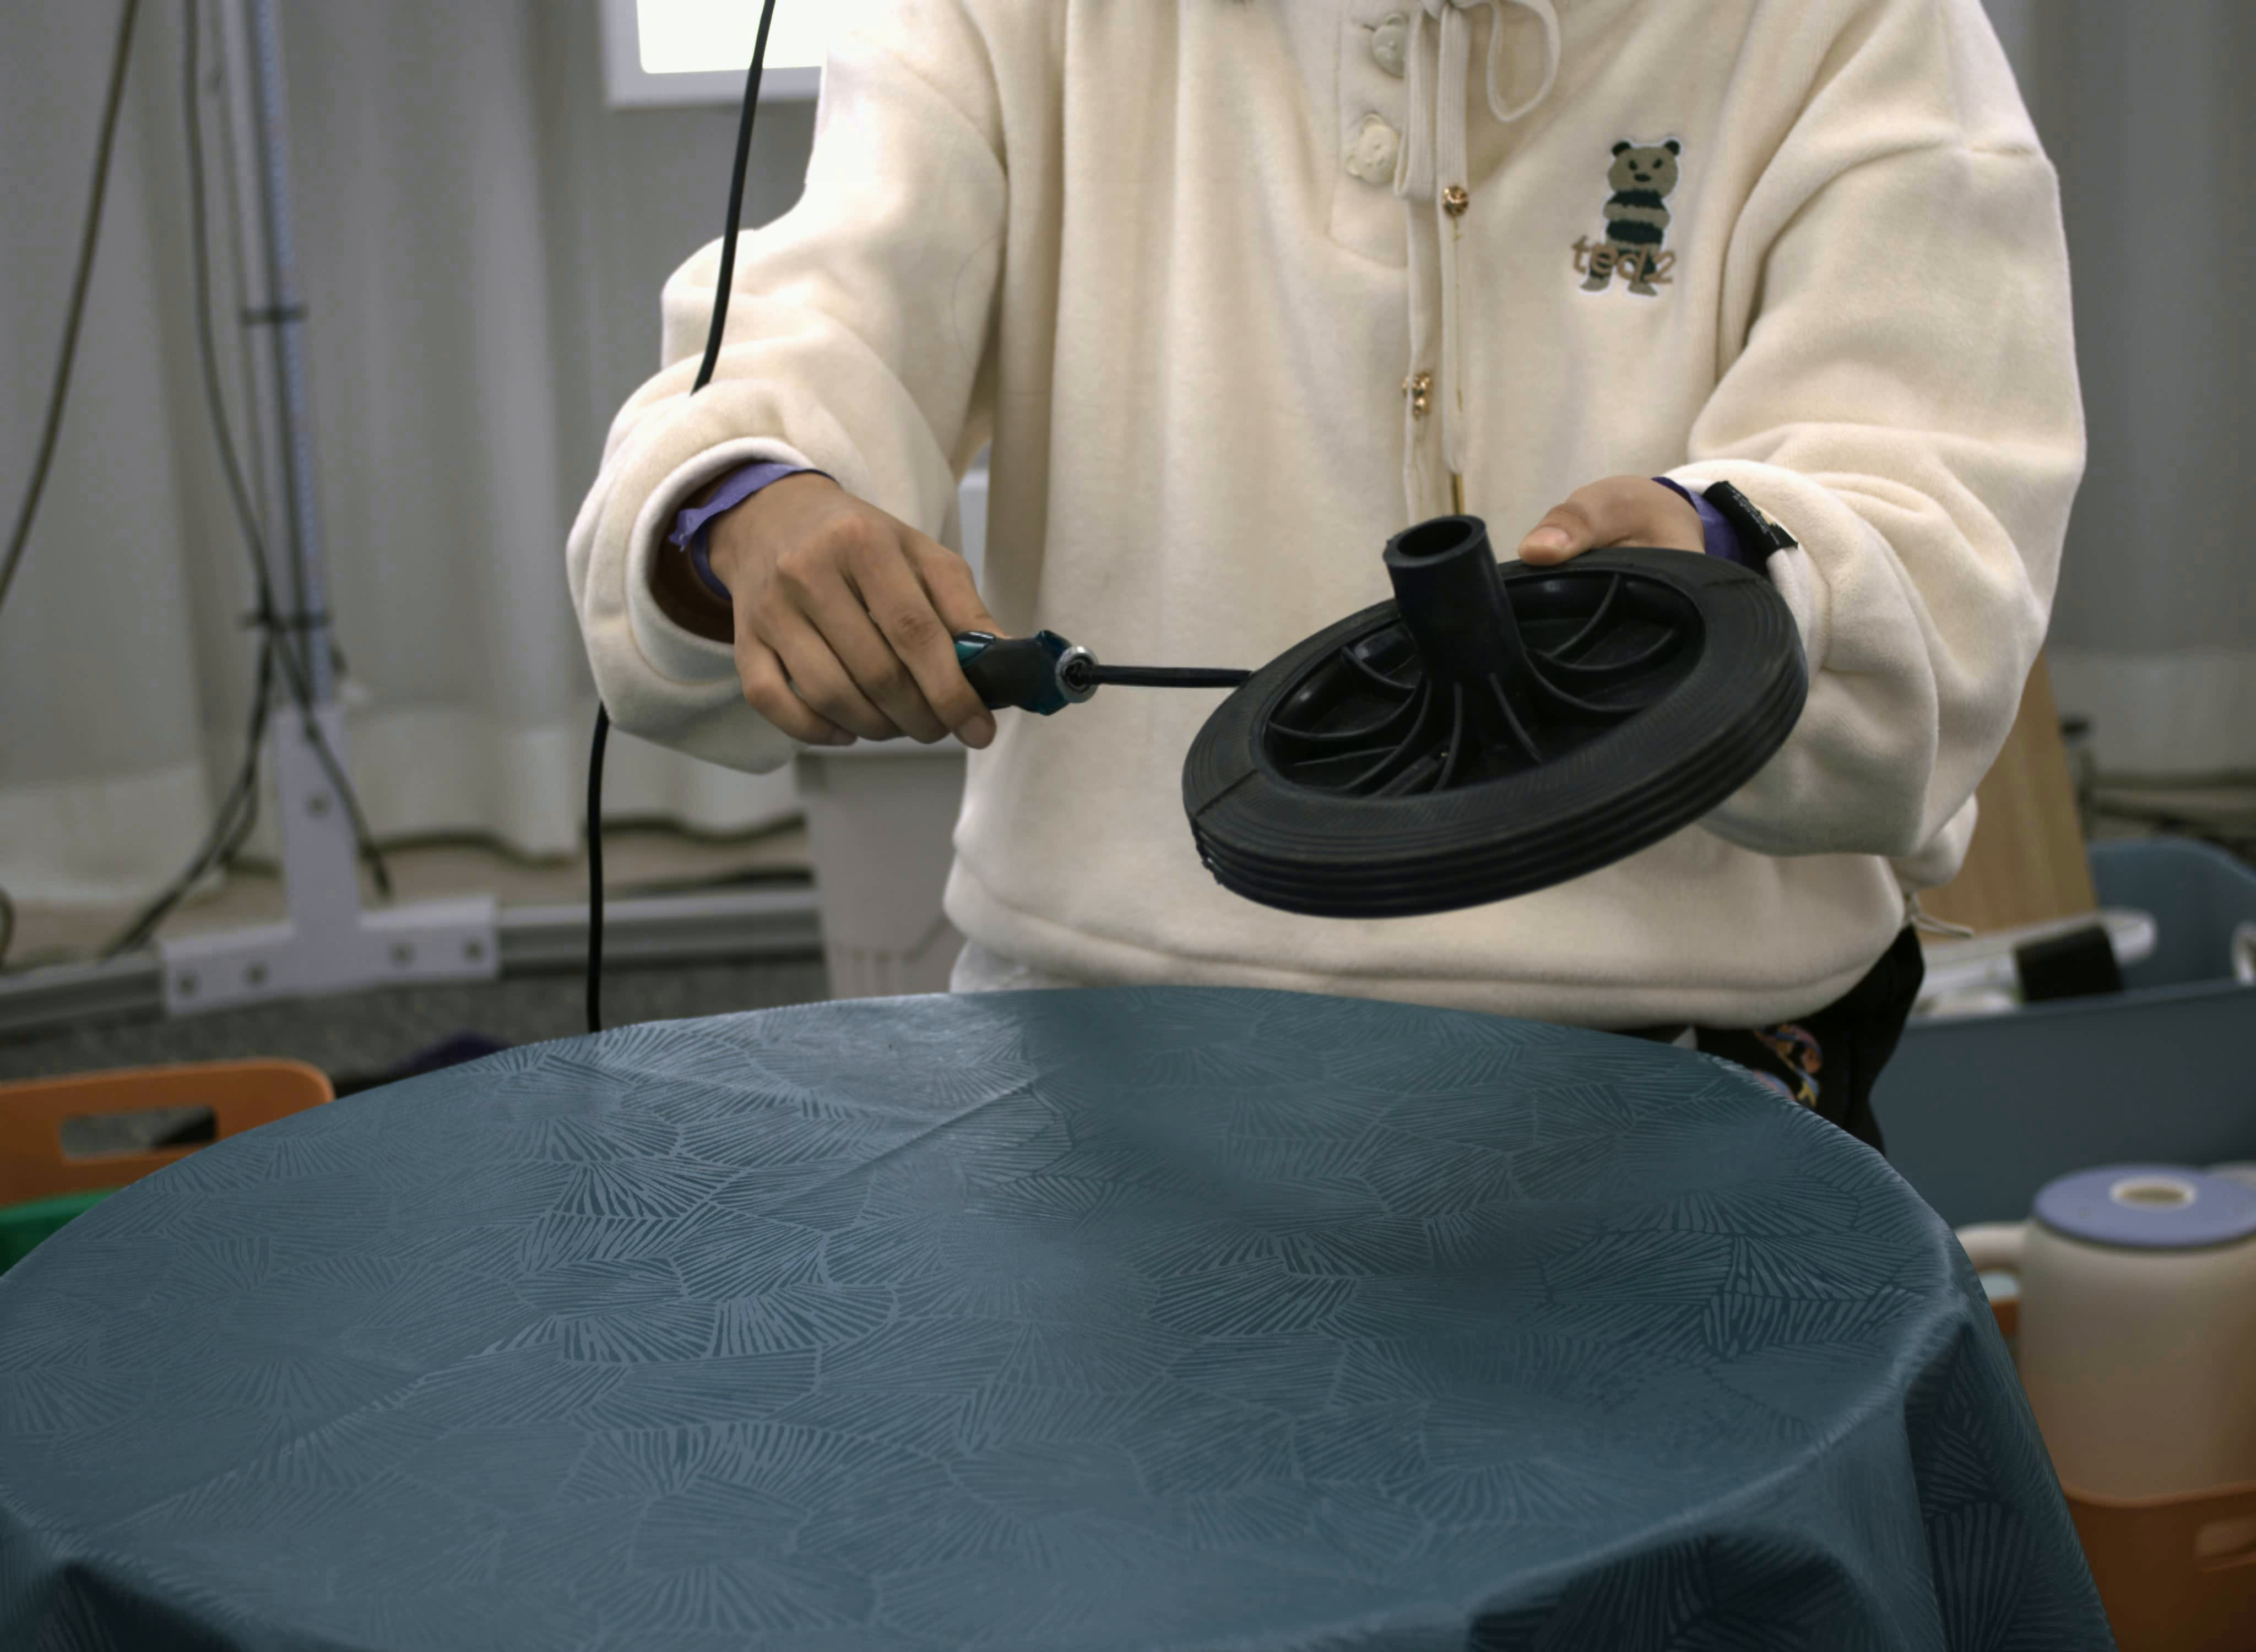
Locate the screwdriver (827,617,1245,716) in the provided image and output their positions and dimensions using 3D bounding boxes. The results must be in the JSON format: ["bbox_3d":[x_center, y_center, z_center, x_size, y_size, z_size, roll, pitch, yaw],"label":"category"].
[{"bbox_3d":[-0.028,-0.048,1.727,0.033,0.033,0.191,-15,14,-41],"label":"screwdriver"}]

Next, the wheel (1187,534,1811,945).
[{"bbox_3d":[0.101,-0.043,1.599,0.187,0.078,0.192,-7,29,25],"label":"wheel"}]
